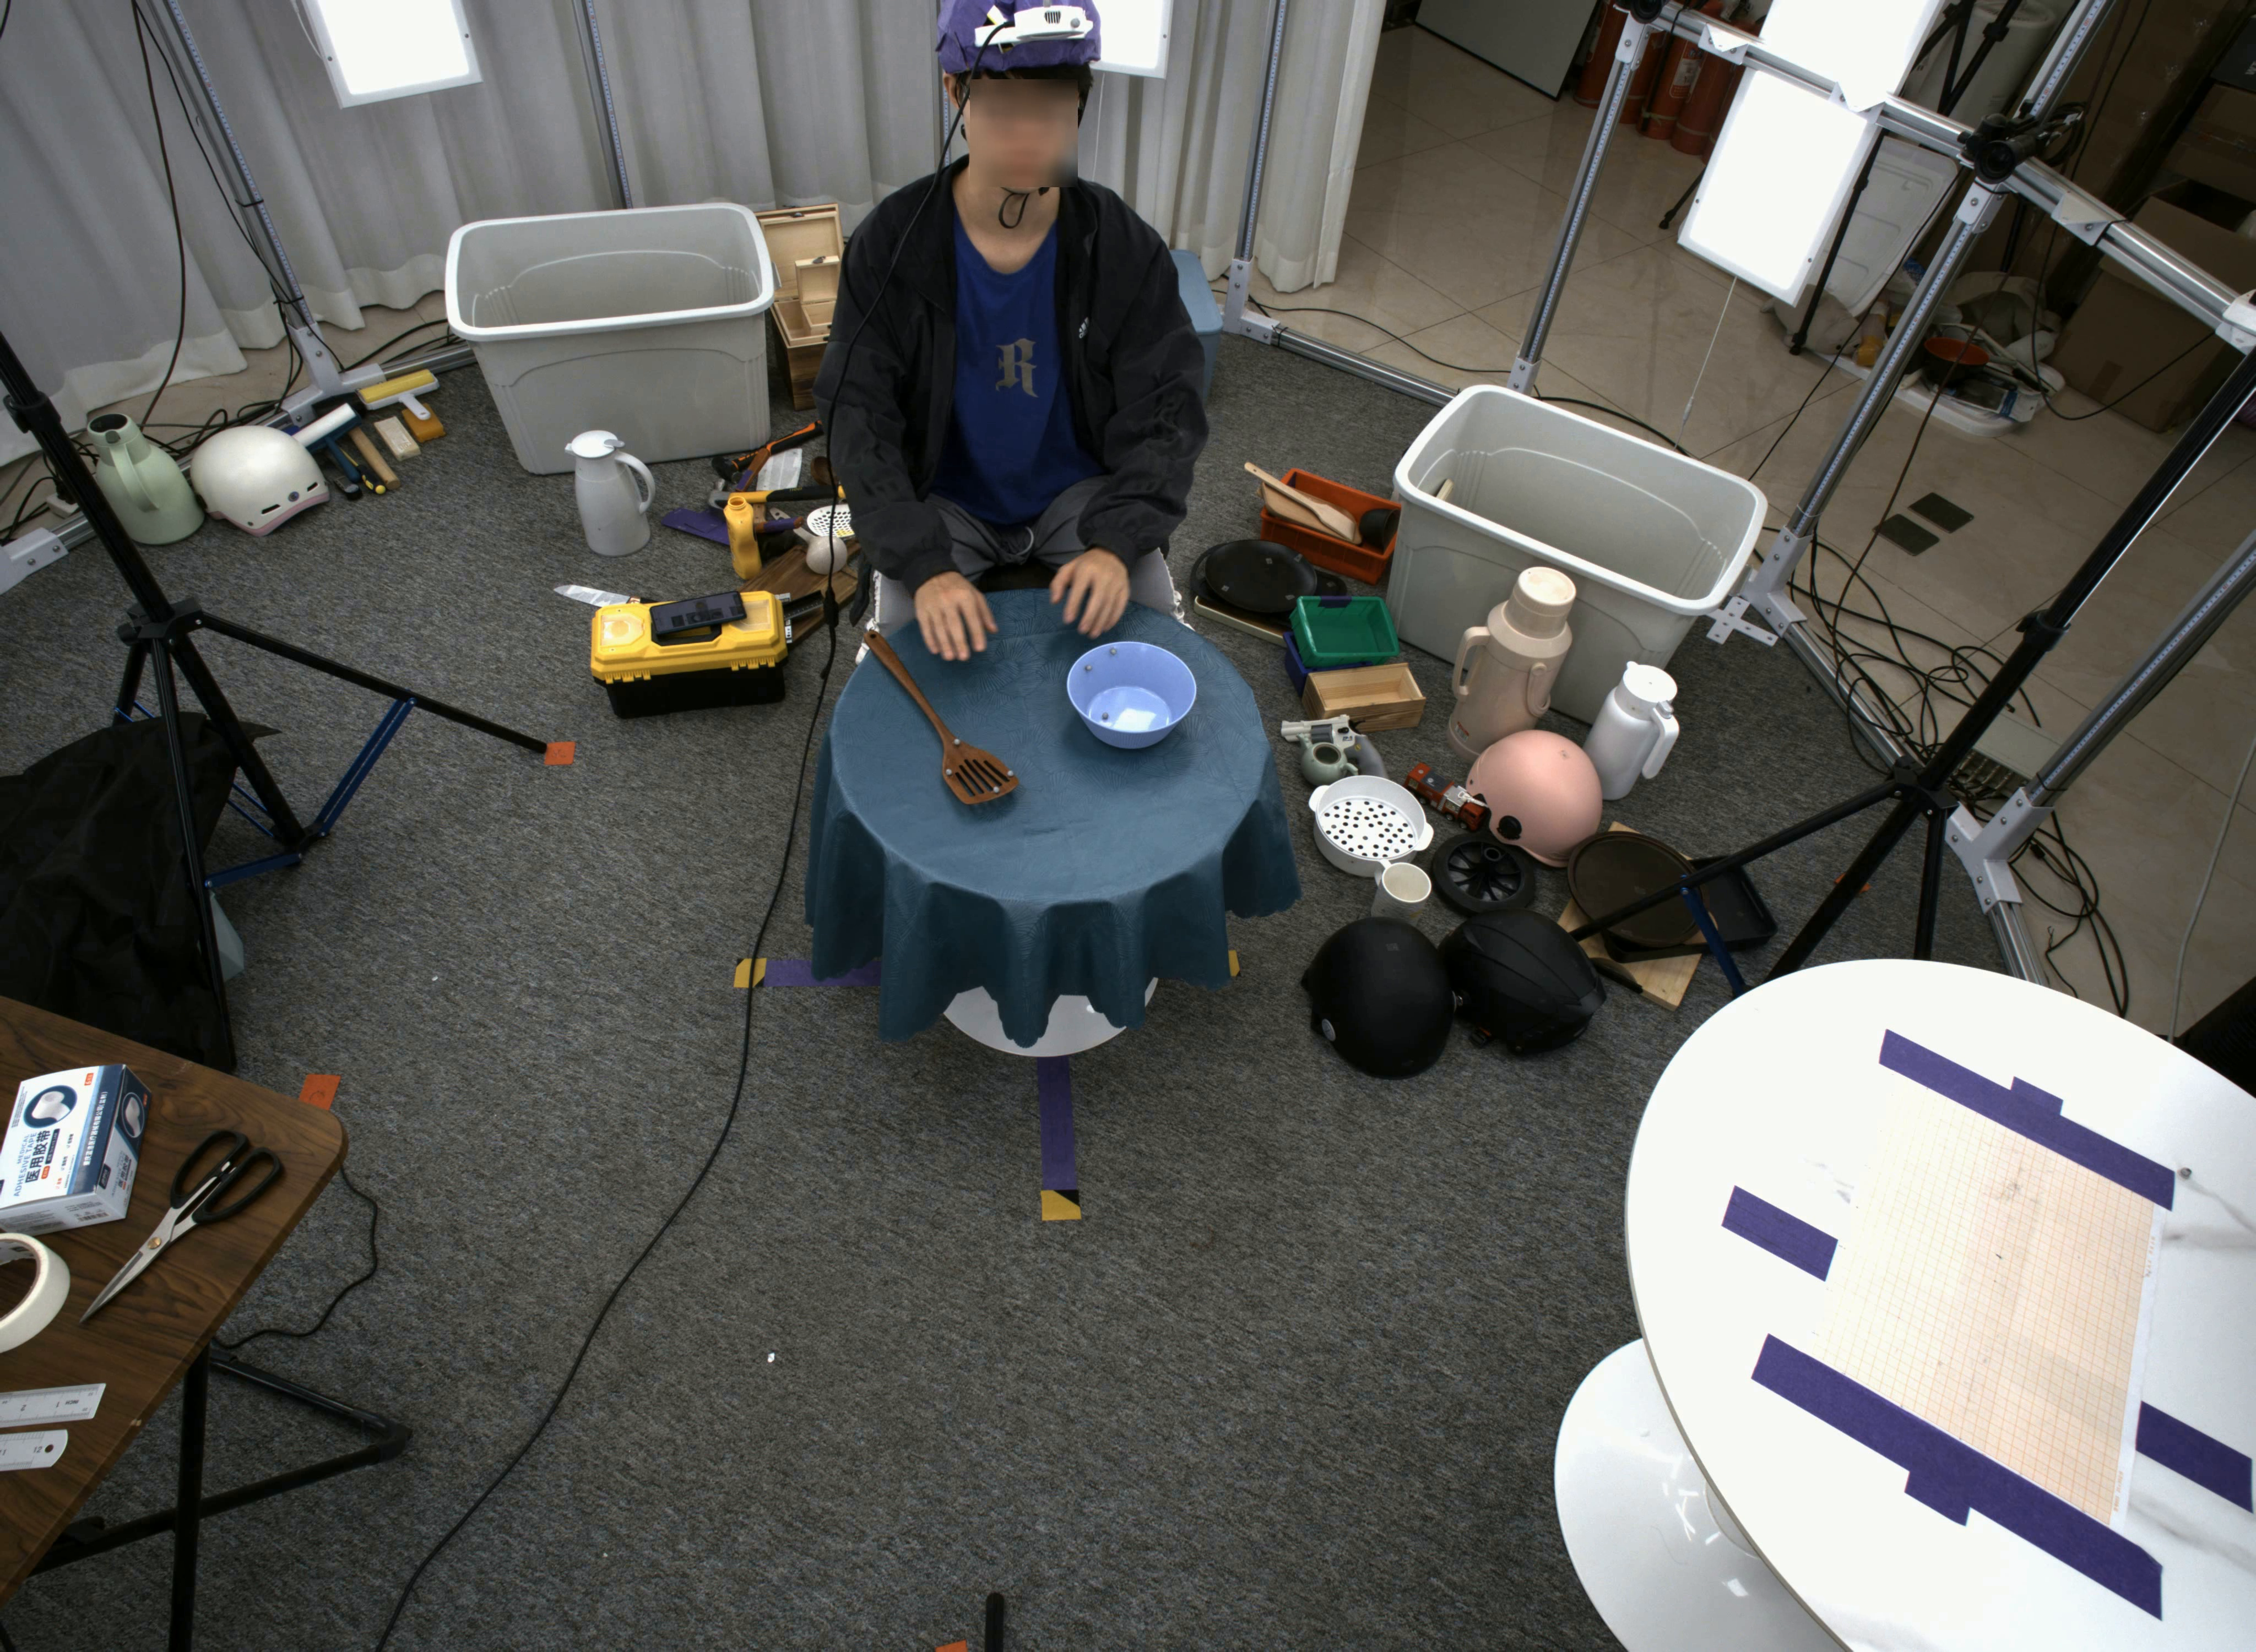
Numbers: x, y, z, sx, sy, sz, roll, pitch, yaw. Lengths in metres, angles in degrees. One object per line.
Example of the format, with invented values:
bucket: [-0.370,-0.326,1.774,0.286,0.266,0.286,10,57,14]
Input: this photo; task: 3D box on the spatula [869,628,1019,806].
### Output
spatula: [-0.272,-0.158,1.779,0.086,0.023,0.395,-23,53,-22]

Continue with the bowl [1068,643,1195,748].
bowl: [0.003,-0.171,1.775,0.176,0.068,0.180,2,49,-2]
